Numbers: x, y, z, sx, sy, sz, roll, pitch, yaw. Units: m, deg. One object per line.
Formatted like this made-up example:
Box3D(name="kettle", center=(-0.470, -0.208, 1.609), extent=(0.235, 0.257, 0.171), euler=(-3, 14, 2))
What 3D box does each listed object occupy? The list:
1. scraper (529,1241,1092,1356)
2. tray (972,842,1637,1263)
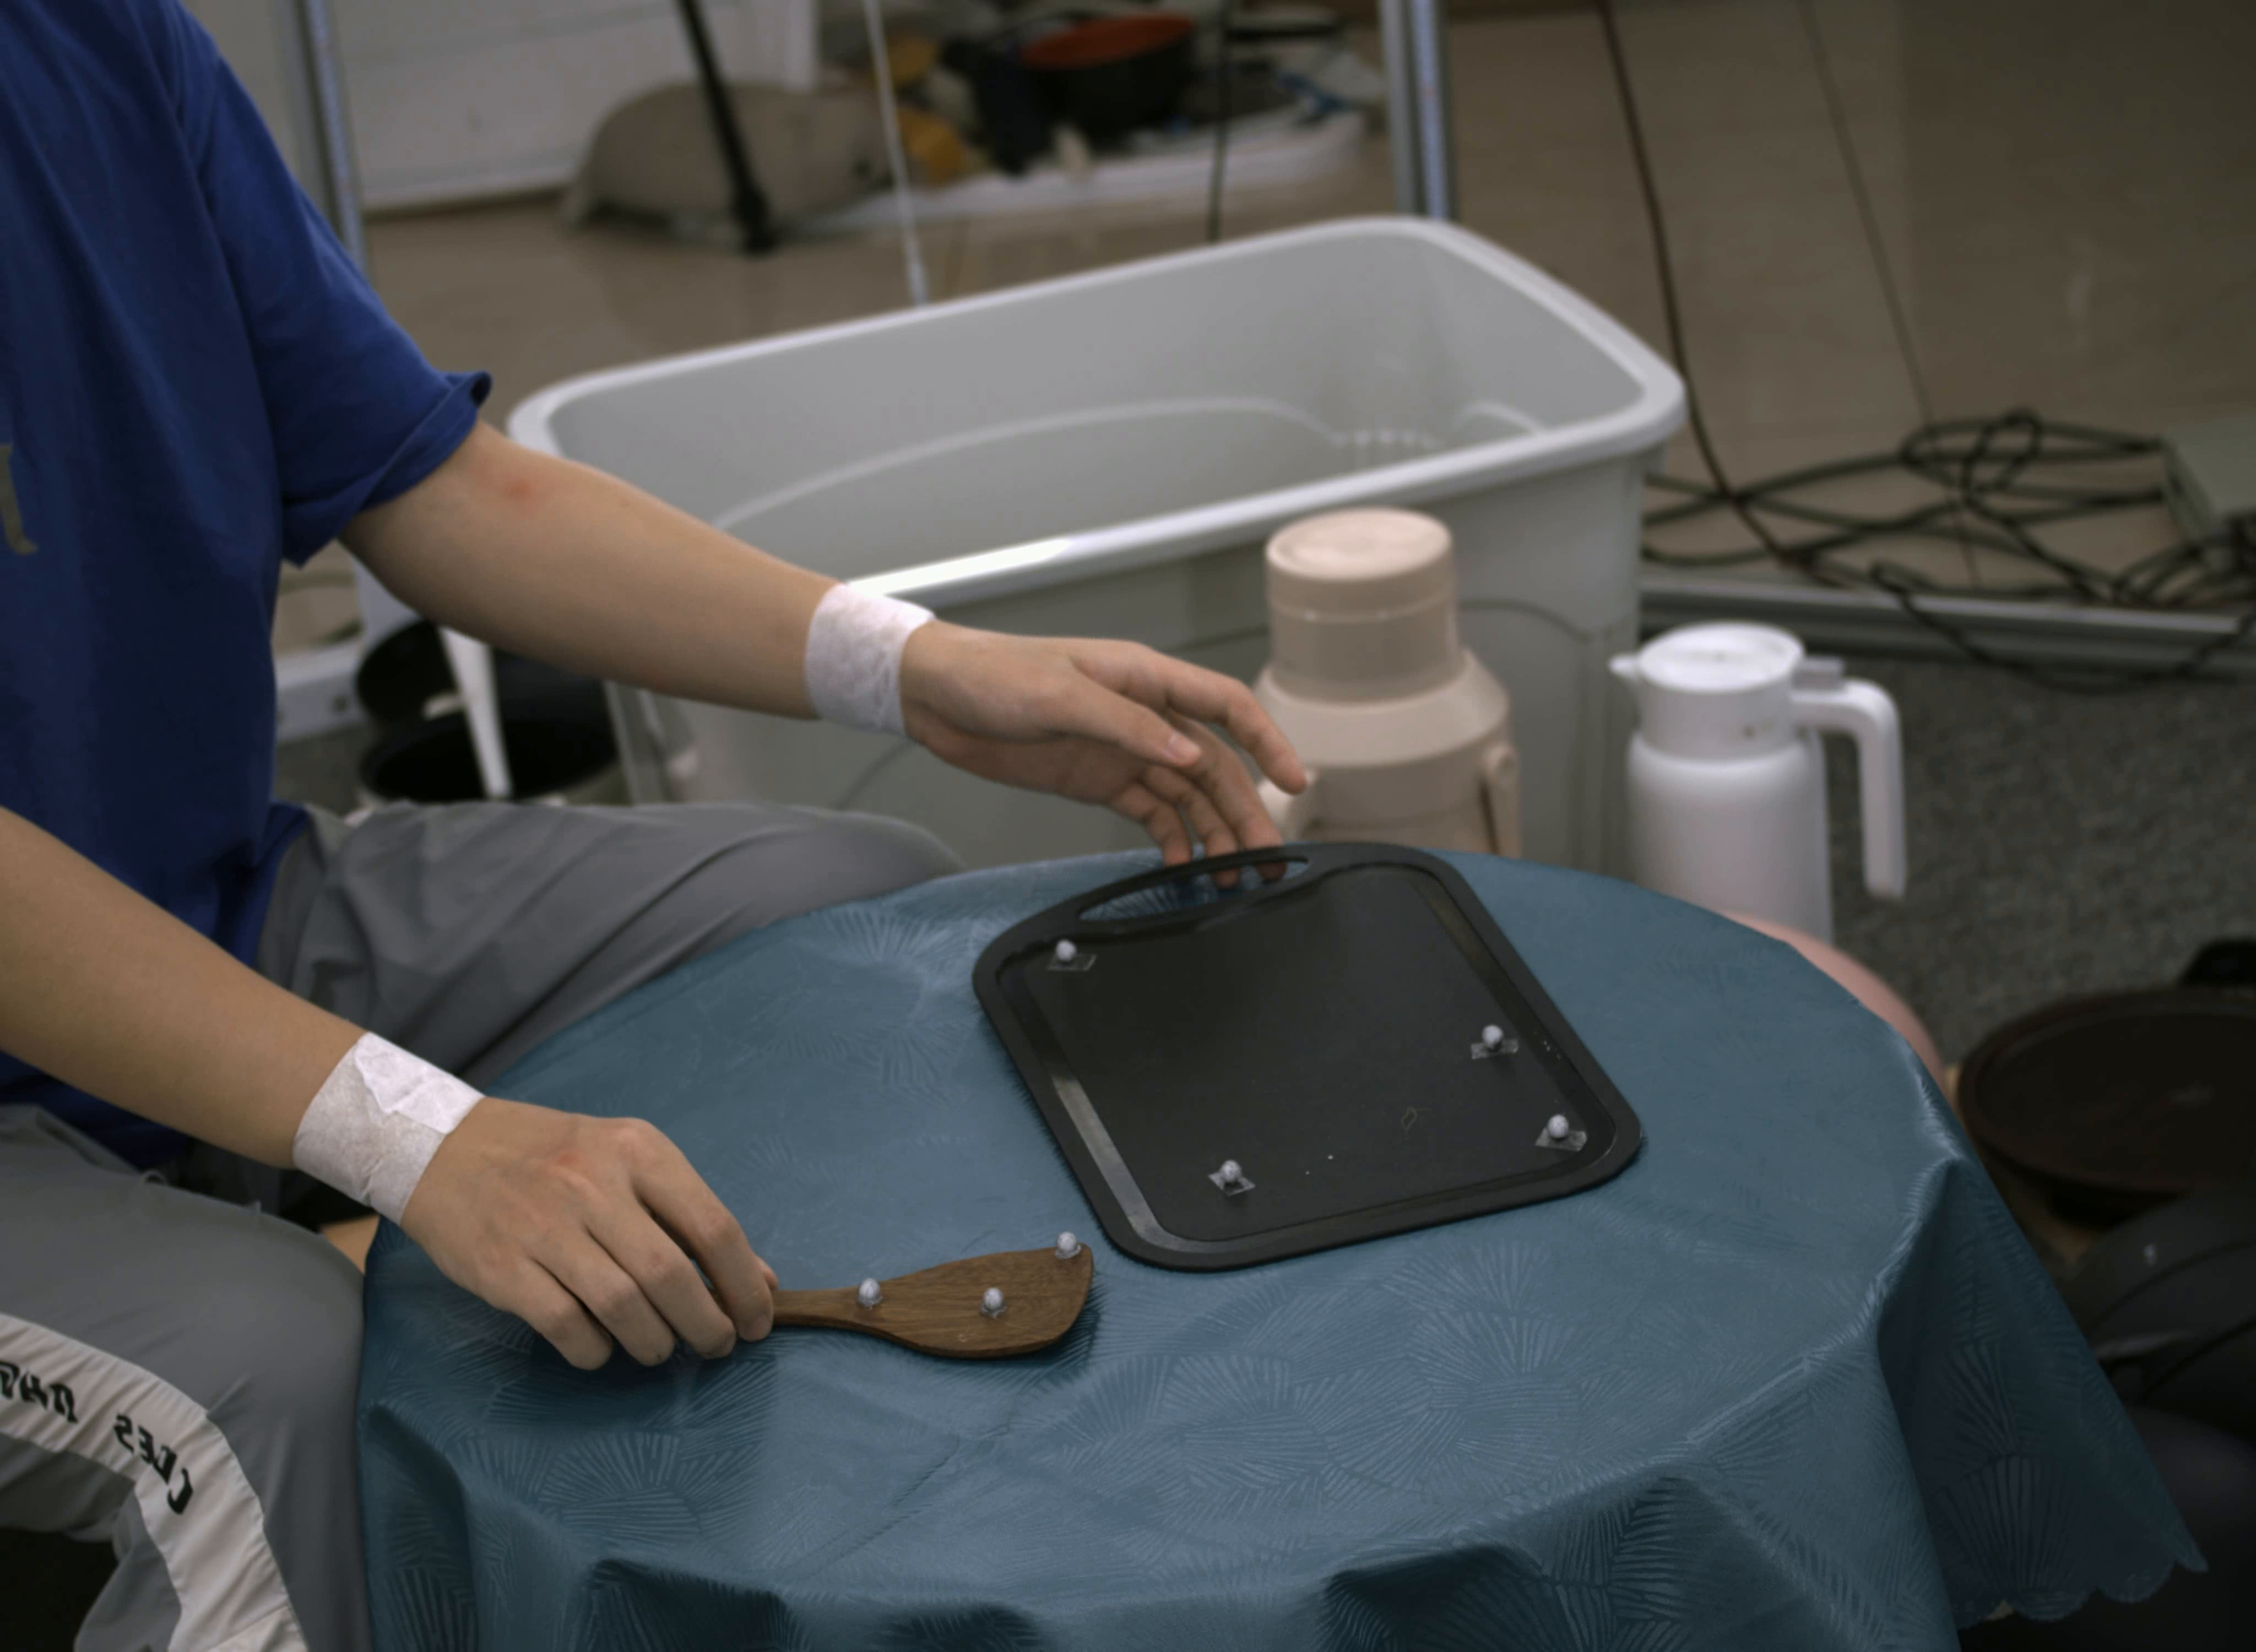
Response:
Box3D(name="scraper", center=(-0.117, 0.176, 2.085), extent=(0.211, 0.011, 0.075), euler=(-3, 24, 11))
Box3D(name="tray", center=(0.061, 0.081, 2.236), extent=(0.210, 0.010, 0.321), euler=(-12, 27, -10))
